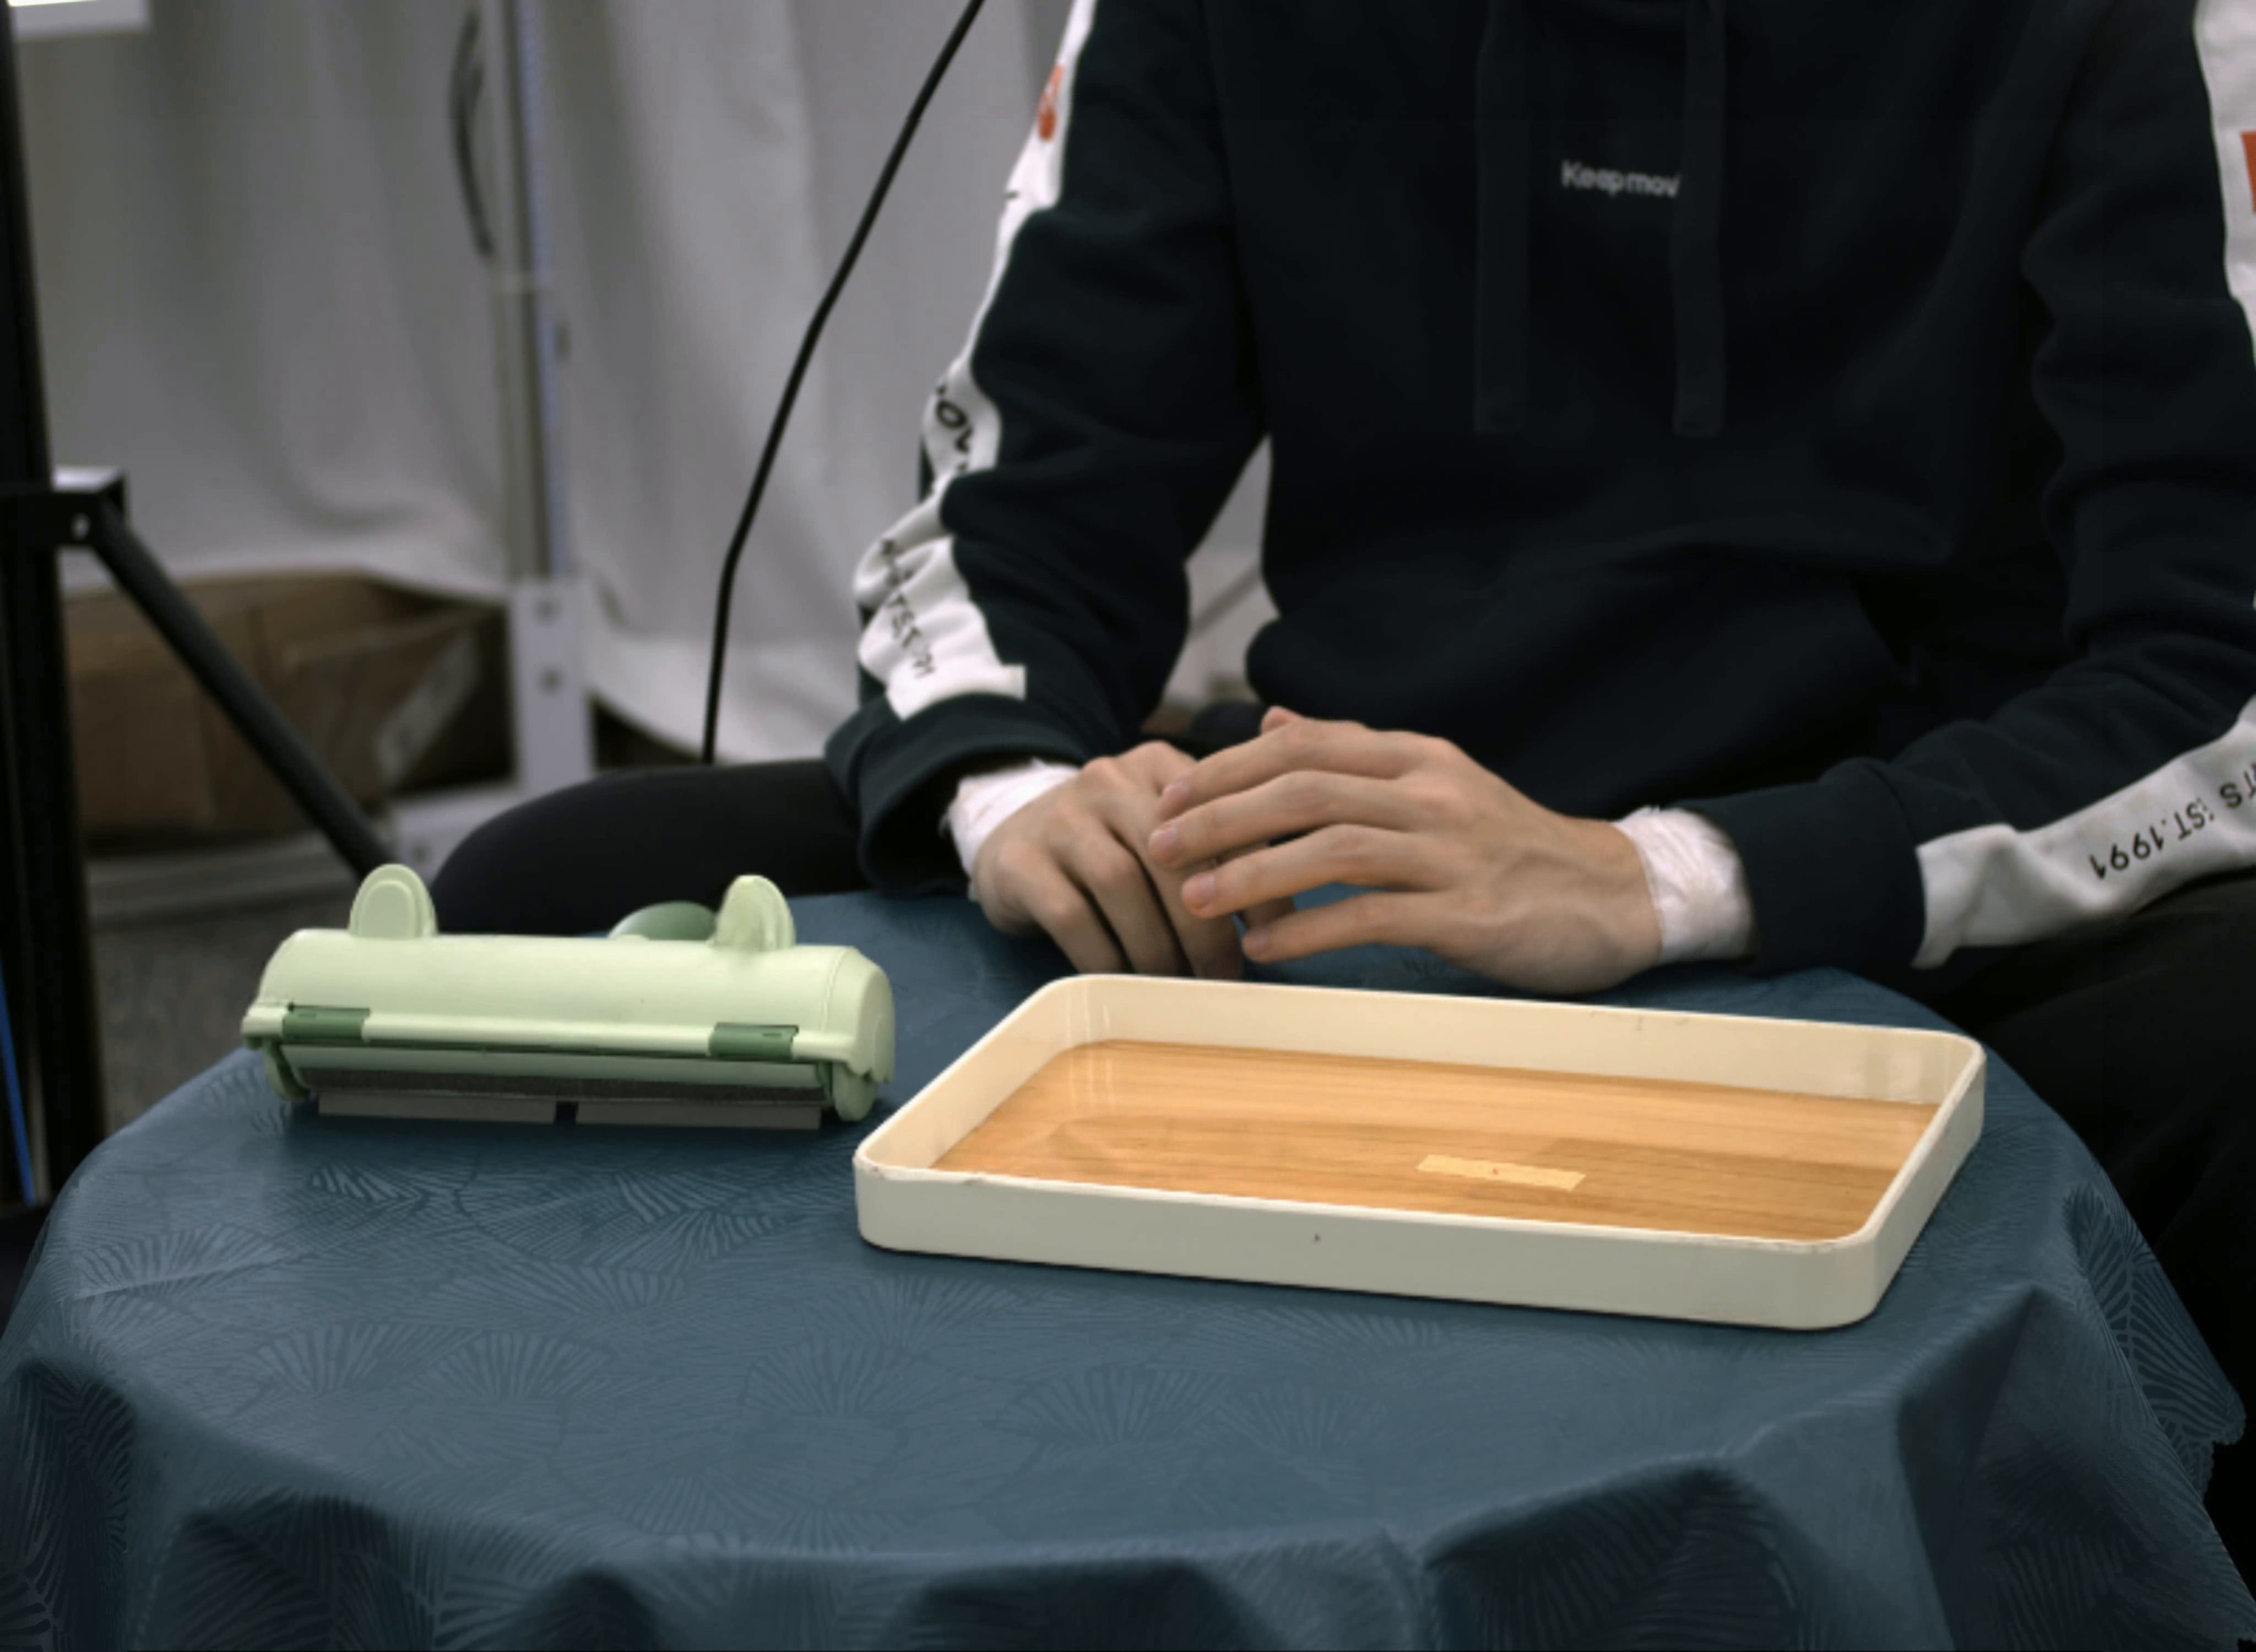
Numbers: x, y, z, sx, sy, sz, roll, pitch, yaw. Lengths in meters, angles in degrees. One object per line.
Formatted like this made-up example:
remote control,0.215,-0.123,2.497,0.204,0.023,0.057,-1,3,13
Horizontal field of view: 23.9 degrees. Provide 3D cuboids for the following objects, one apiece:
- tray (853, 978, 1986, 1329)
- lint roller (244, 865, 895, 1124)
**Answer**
tray,0.088,0.093,1.547,0.304,0.027,0.189,4,17,21
lint roller,-0.161,0.036,1.699,0.200,0.082,0.182,1,20,14
